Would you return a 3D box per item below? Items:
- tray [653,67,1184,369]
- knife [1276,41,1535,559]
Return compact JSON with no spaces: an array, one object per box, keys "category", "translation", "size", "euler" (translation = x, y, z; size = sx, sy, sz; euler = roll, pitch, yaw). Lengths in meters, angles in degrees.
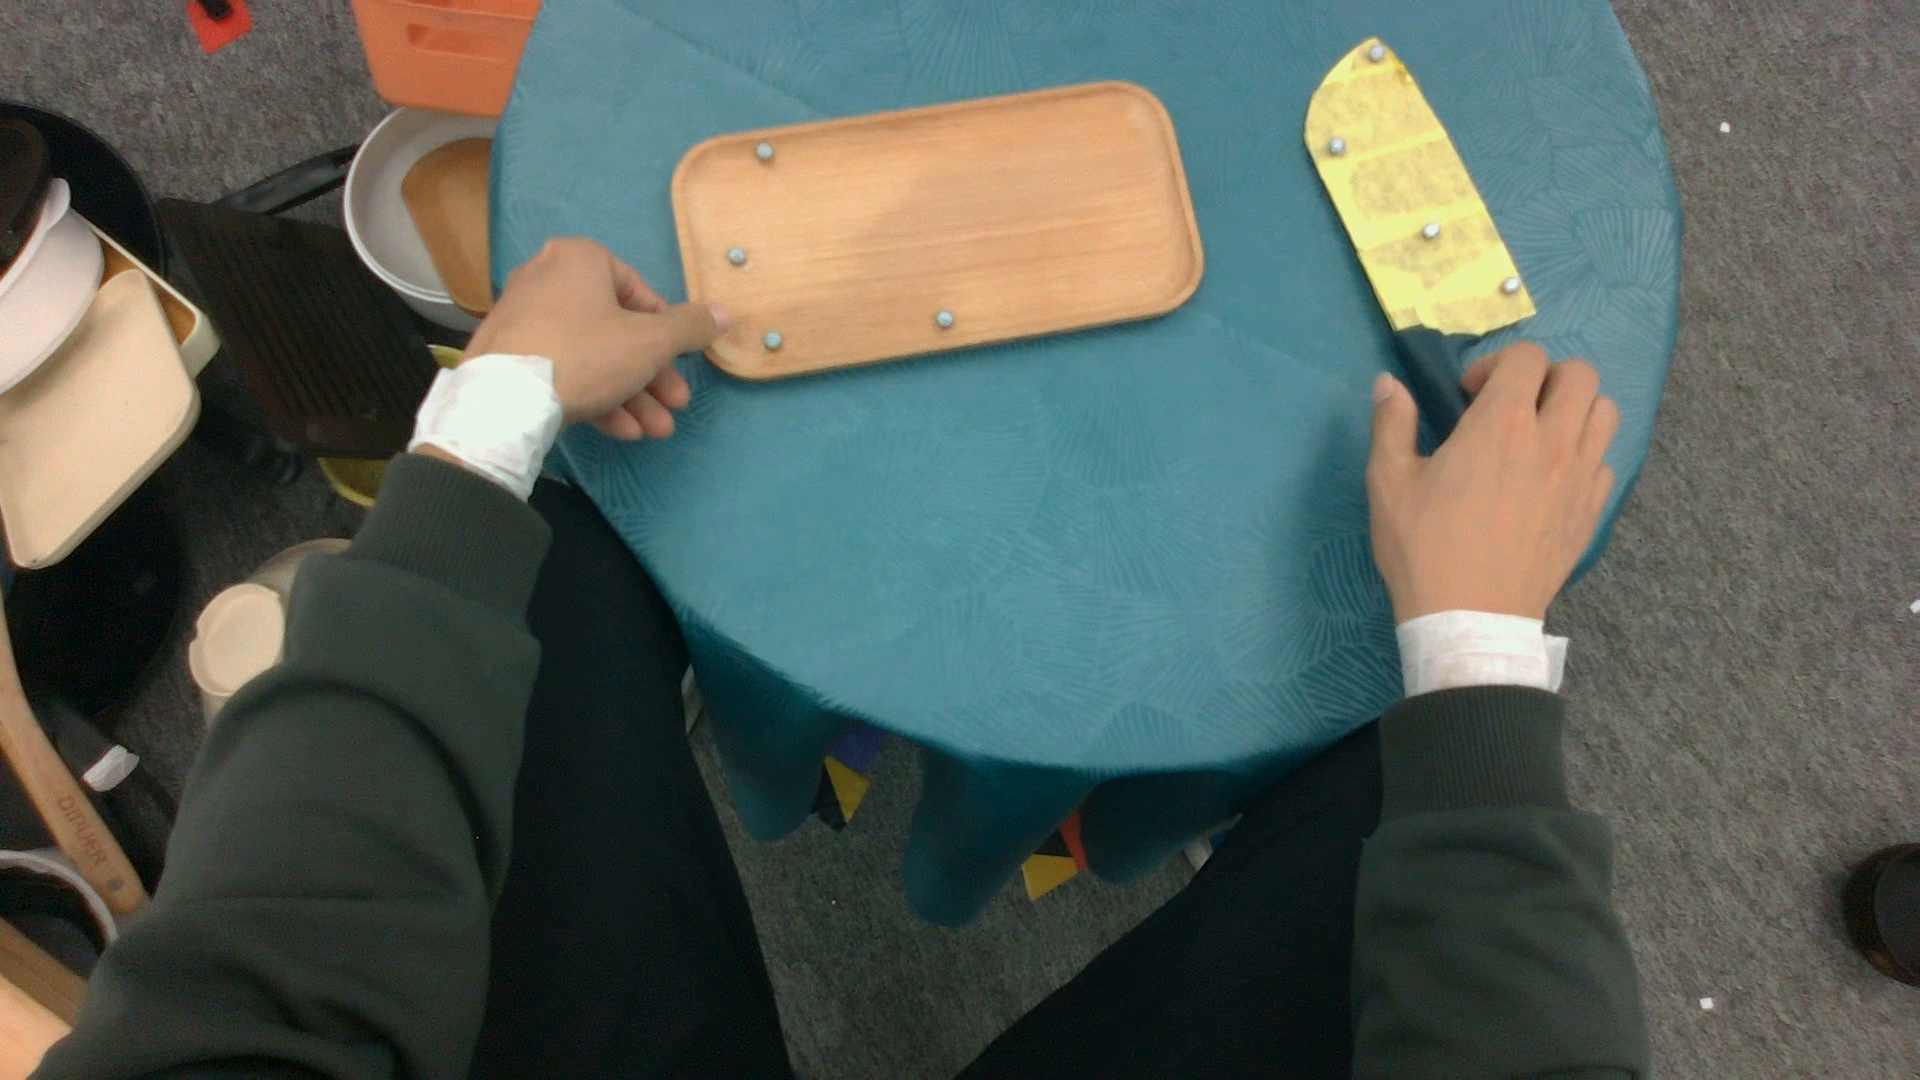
[{"category":"tray","translation":[-0.020,-0.160,0.678],"size":[0.251,0.023,0.131],"euler":[-10,79,-8]},{"category":"knife","translation":[0.232,-0.129,0.692],"size":[0.081,0.027,0.290],"euler":[-16,76,-8]}]
